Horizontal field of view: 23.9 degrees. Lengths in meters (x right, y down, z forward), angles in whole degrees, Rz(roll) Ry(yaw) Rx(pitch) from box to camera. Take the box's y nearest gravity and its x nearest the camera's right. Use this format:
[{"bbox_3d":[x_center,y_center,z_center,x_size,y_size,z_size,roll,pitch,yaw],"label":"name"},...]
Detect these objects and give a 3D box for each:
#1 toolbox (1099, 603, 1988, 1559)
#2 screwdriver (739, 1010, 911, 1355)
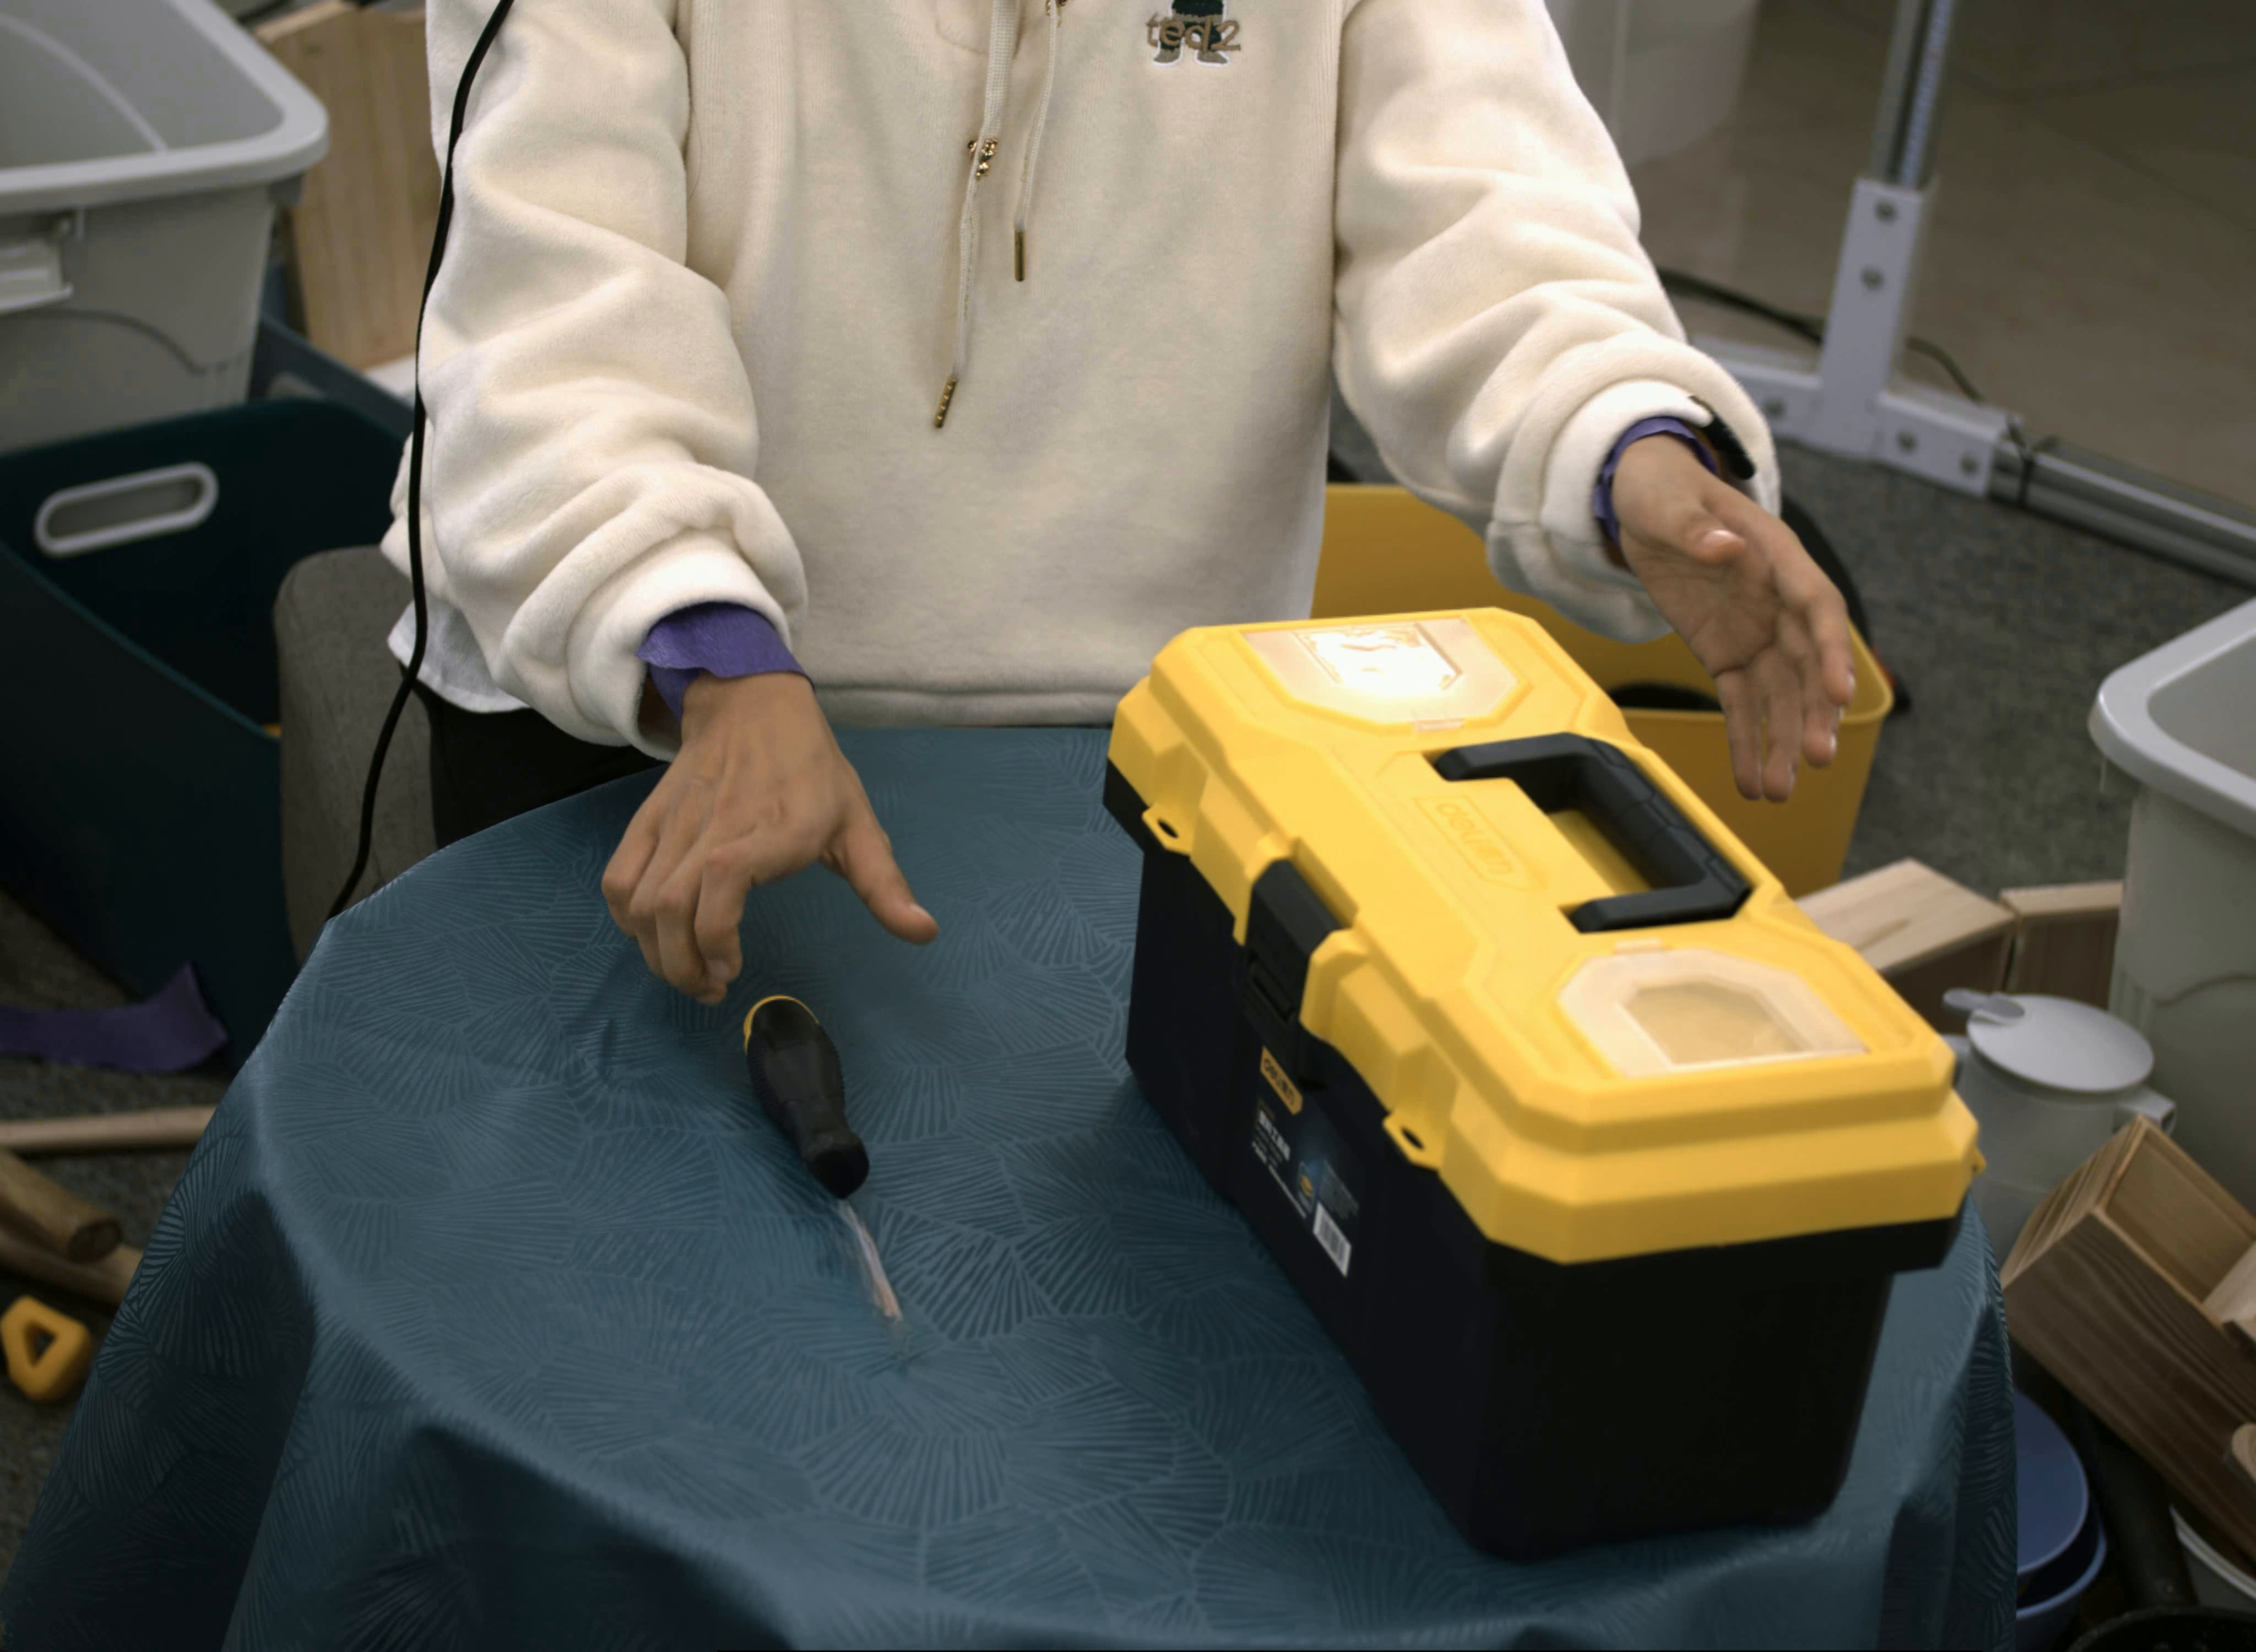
[{"bbox_3d":[0.121,0.075,1.734,0.180,0.172,0.354,-4,29,-21],"label":"toolbox"},{"bbox_3d":[-0.099,0.122,1.772,0.031,0.031,0.199,-1,32,-17],"label":"screwdriver"}]
